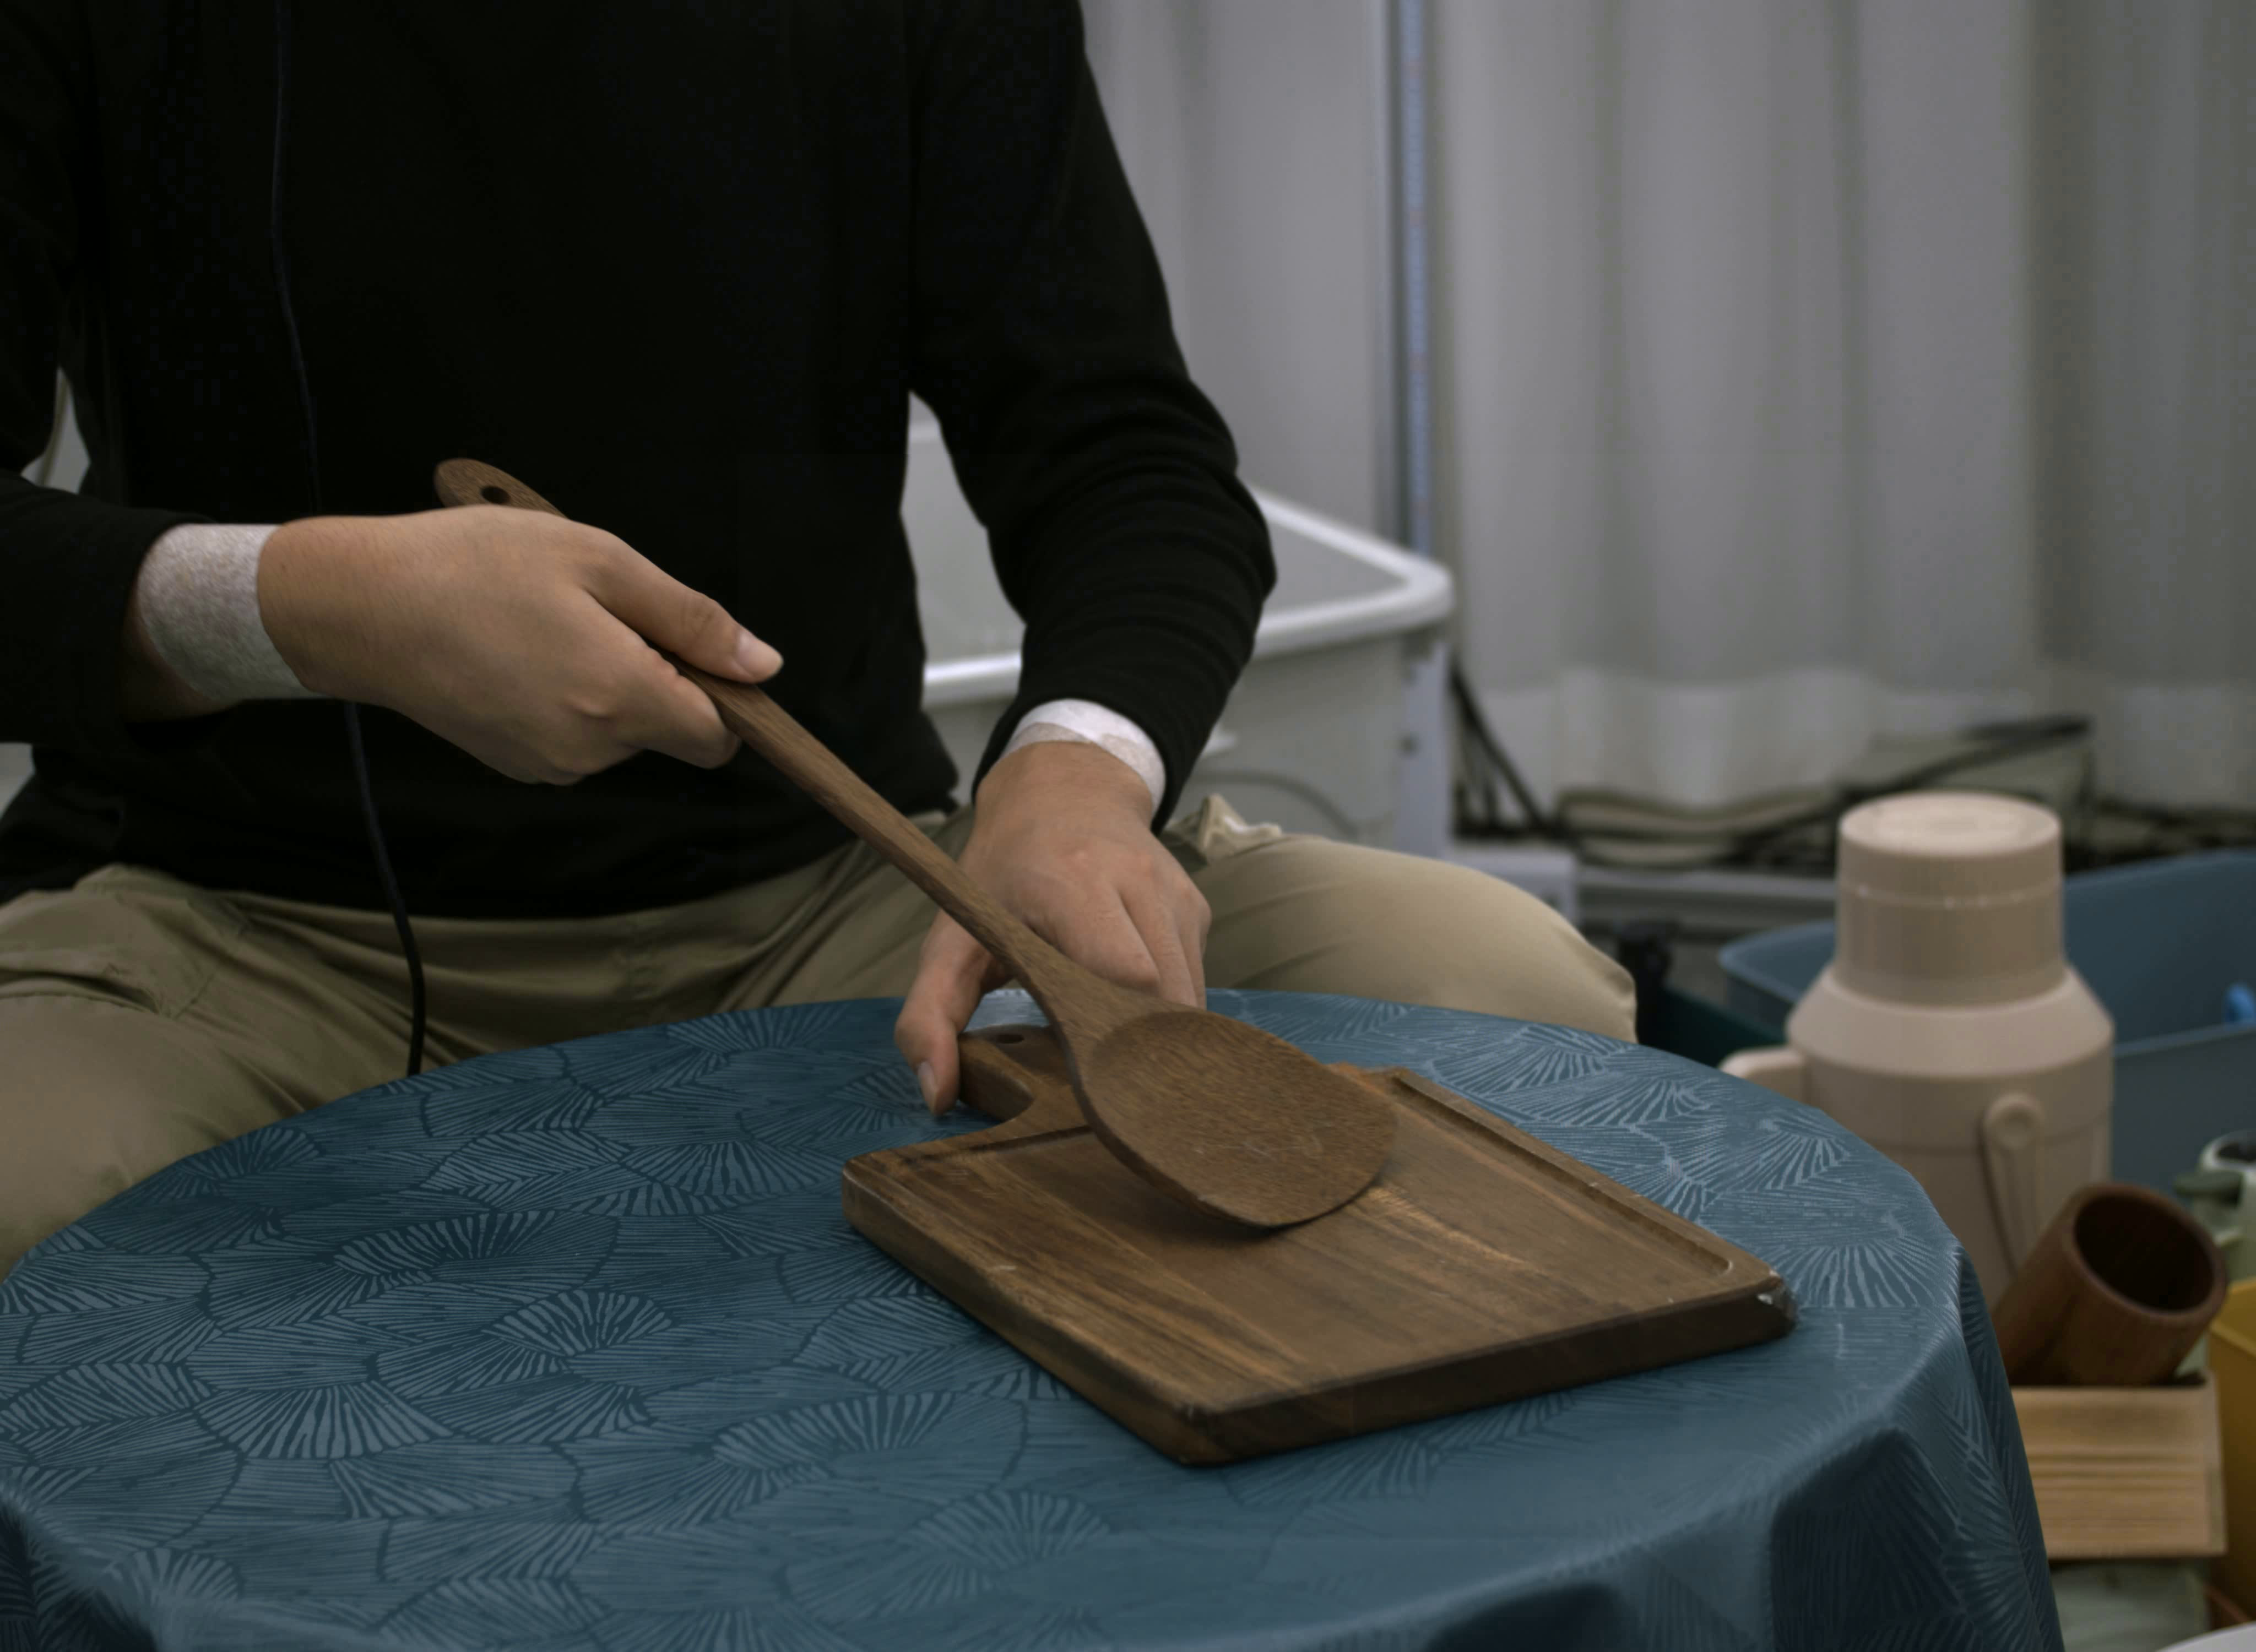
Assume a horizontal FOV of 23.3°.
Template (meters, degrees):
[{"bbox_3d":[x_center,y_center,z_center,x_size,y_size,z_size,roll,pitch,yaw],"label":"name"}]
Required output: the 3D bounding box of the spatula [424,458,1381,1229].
[{"bbox_3d":[-0.081,-0.002,1.706,0.388,0.015,0.096,40,36,18],"label":"spatula"}]

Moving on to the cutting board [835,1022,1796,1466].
[{"bbox_3d":[0.028,0.113,1.668,0.200,0.023,0.355,-9,17,-25],"label":"cutting board"}]
